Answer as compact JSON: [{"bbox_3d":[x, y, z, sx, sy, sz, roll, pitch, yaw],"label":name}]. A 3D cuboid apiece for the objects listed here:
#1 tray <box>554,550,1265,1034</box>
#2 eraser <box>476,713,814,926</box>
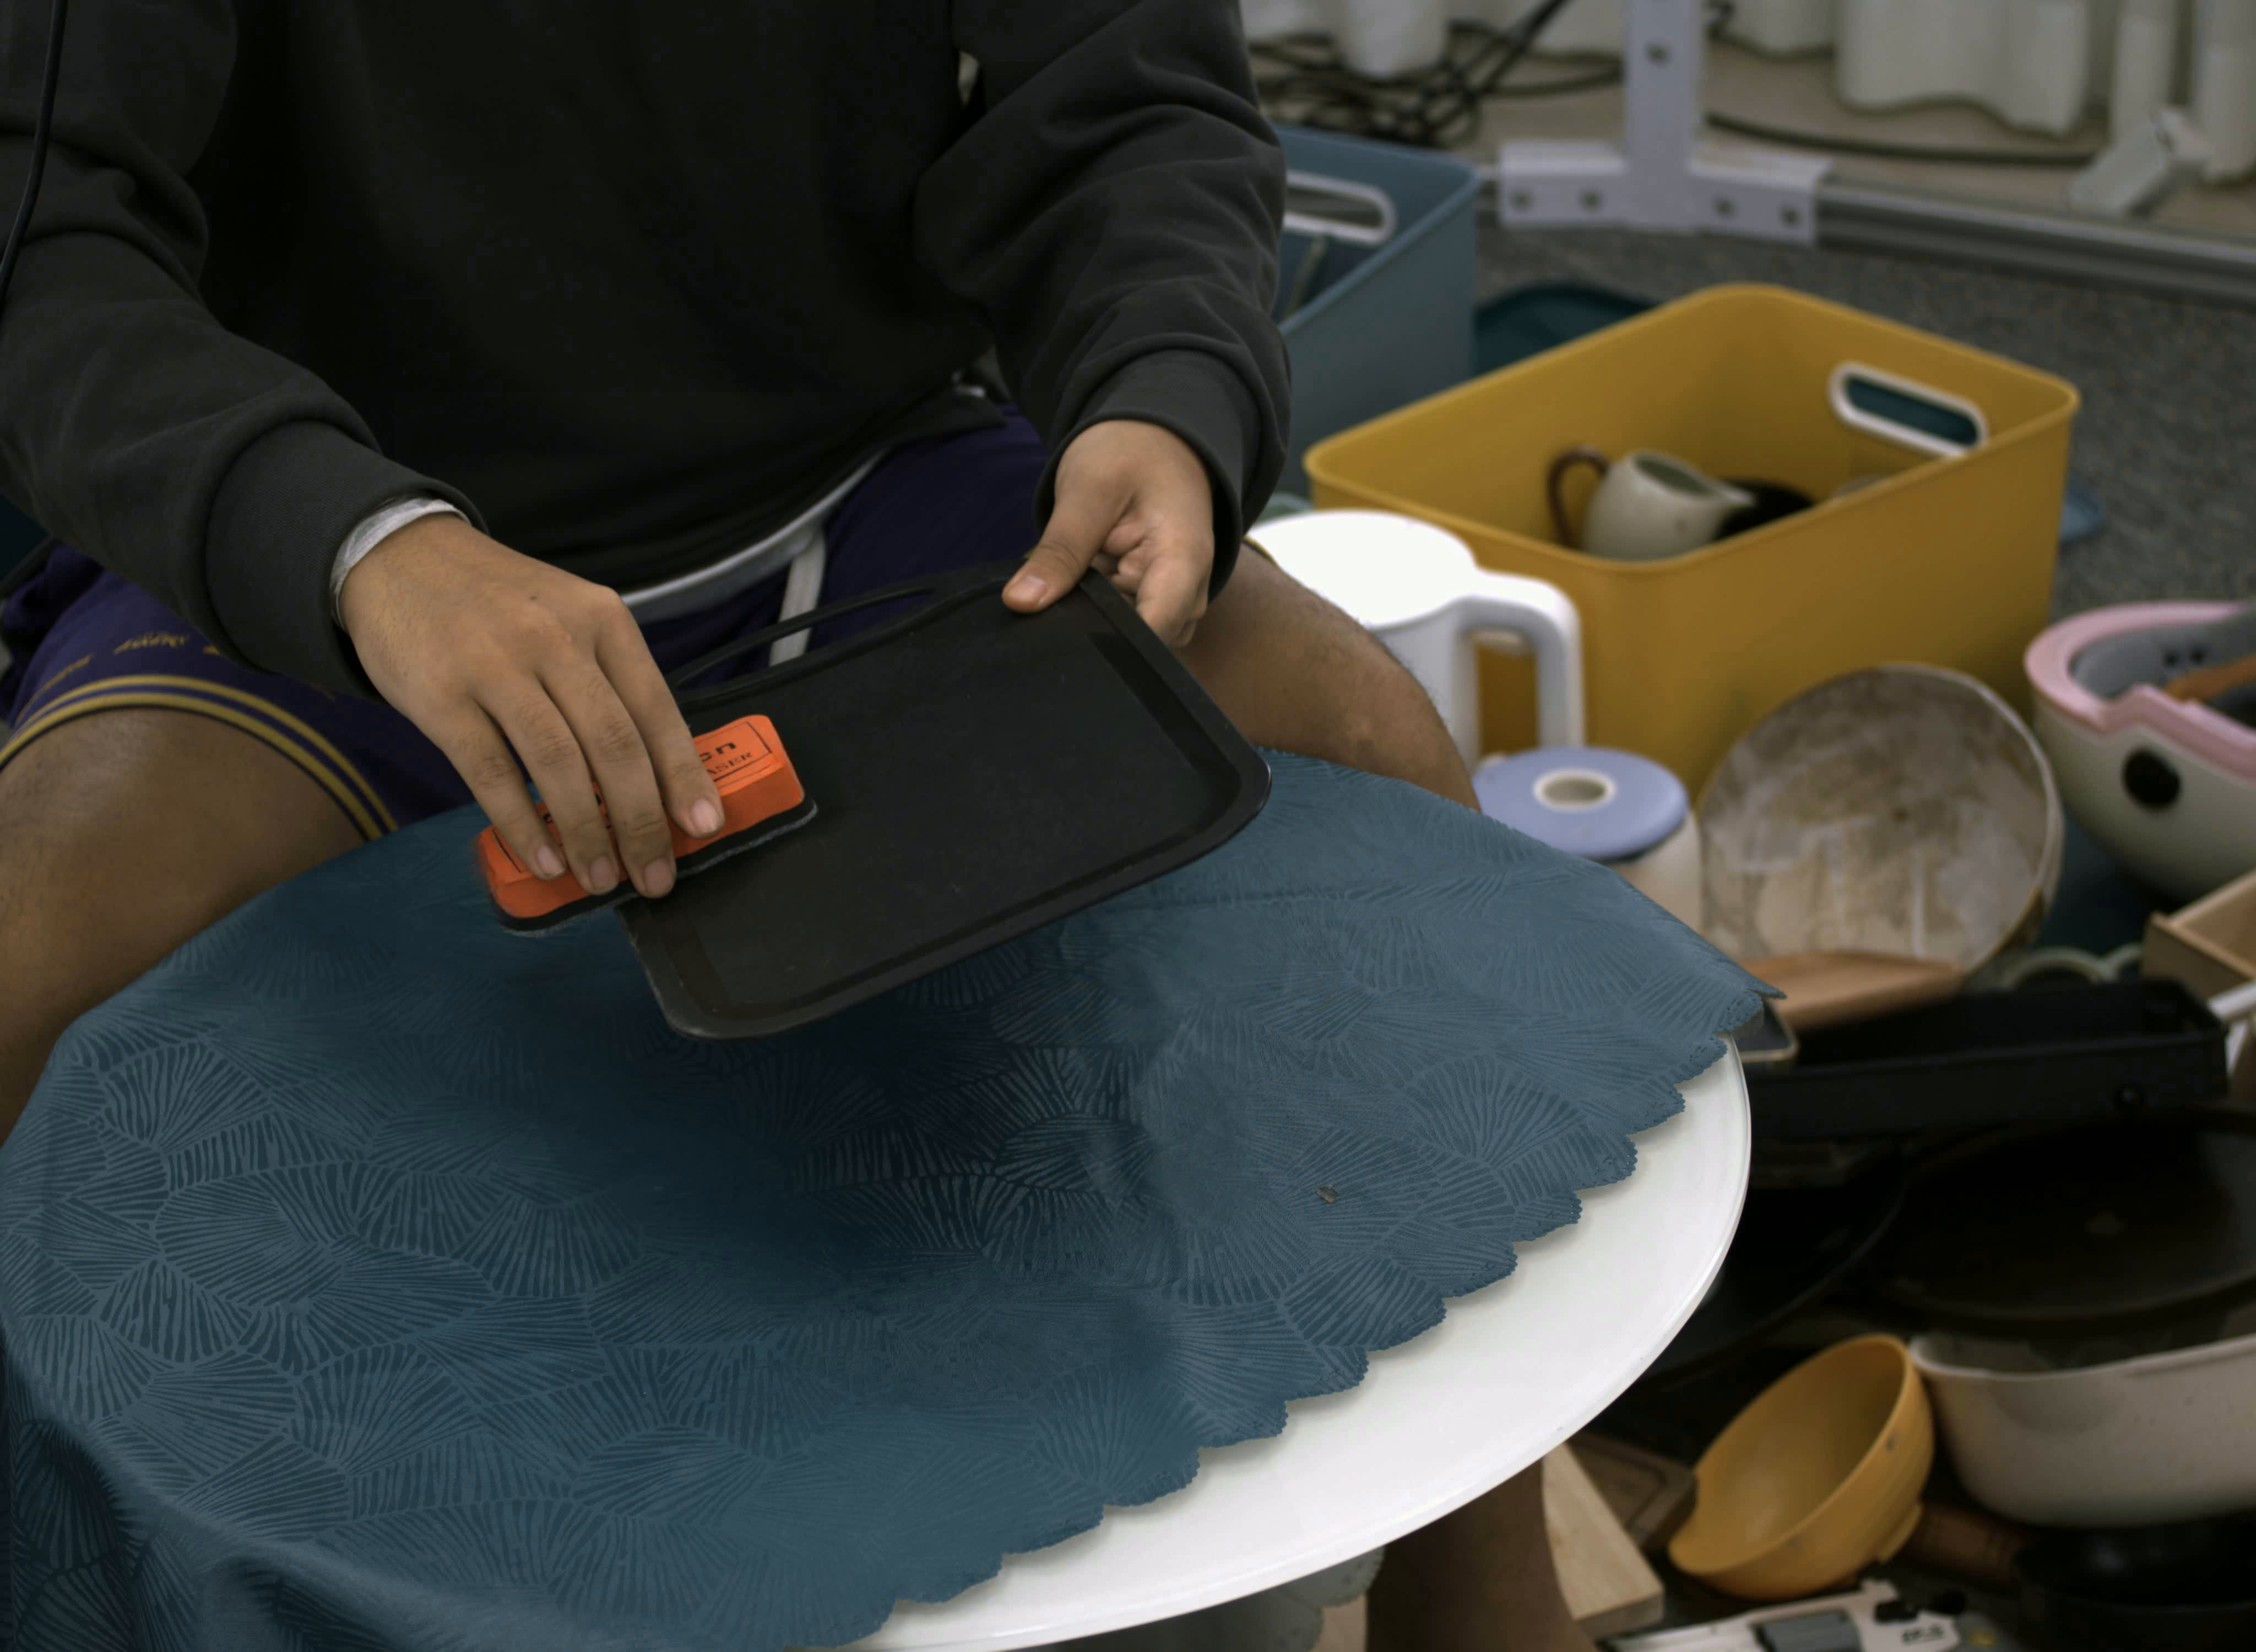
[{"bbox_3d":[-0.083,-0.020,1.906,0.211,0.010,0.328,-22,24,-7],"label":"tray"},{"bbox_3d":[-0.163,-0.002,1.892,0.108,0.022,0.059,-22,24,-12],"label":"eraser"}]
